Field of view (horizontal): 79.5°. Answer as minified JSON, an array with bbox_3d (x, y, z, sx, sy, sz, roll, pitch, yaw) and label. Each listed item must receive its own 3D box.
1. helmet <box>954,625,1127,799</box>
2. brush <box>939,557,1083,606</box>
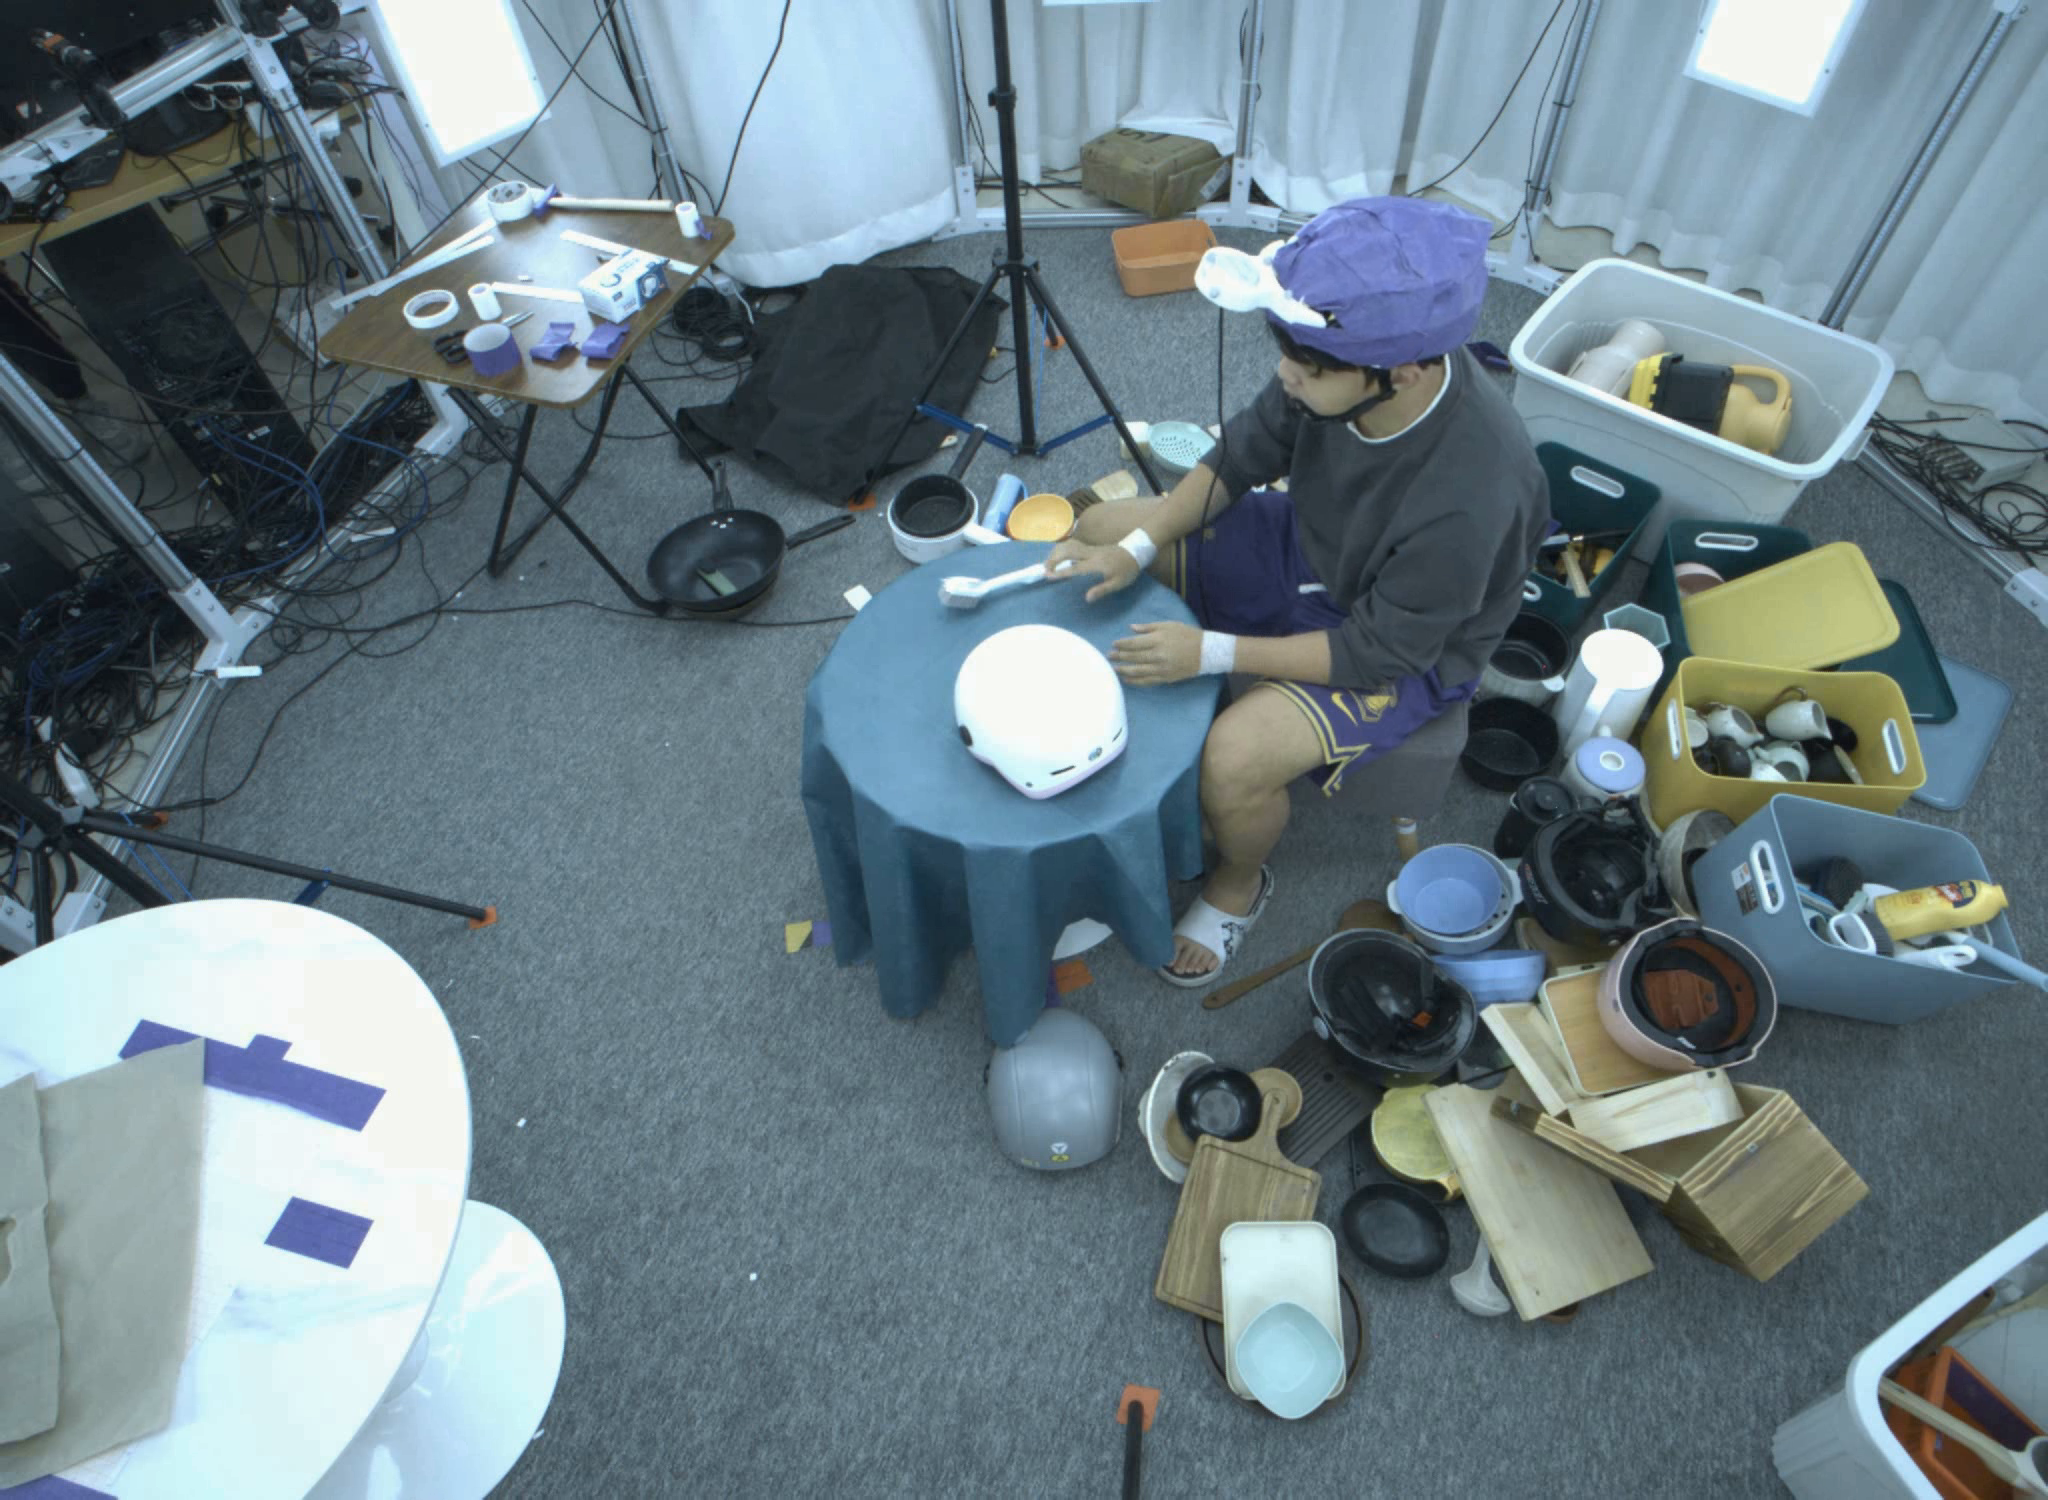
[{"bbox_3d":[0.017,-0.081,1.746,0.239,0.169,0.263,-32,59,-18],"label":"helmet"},{"bbox_3d":[-0.019,-0.269,1.968,0.247,0.050,0.034,-13,53,-23],"label":"brush"}]
